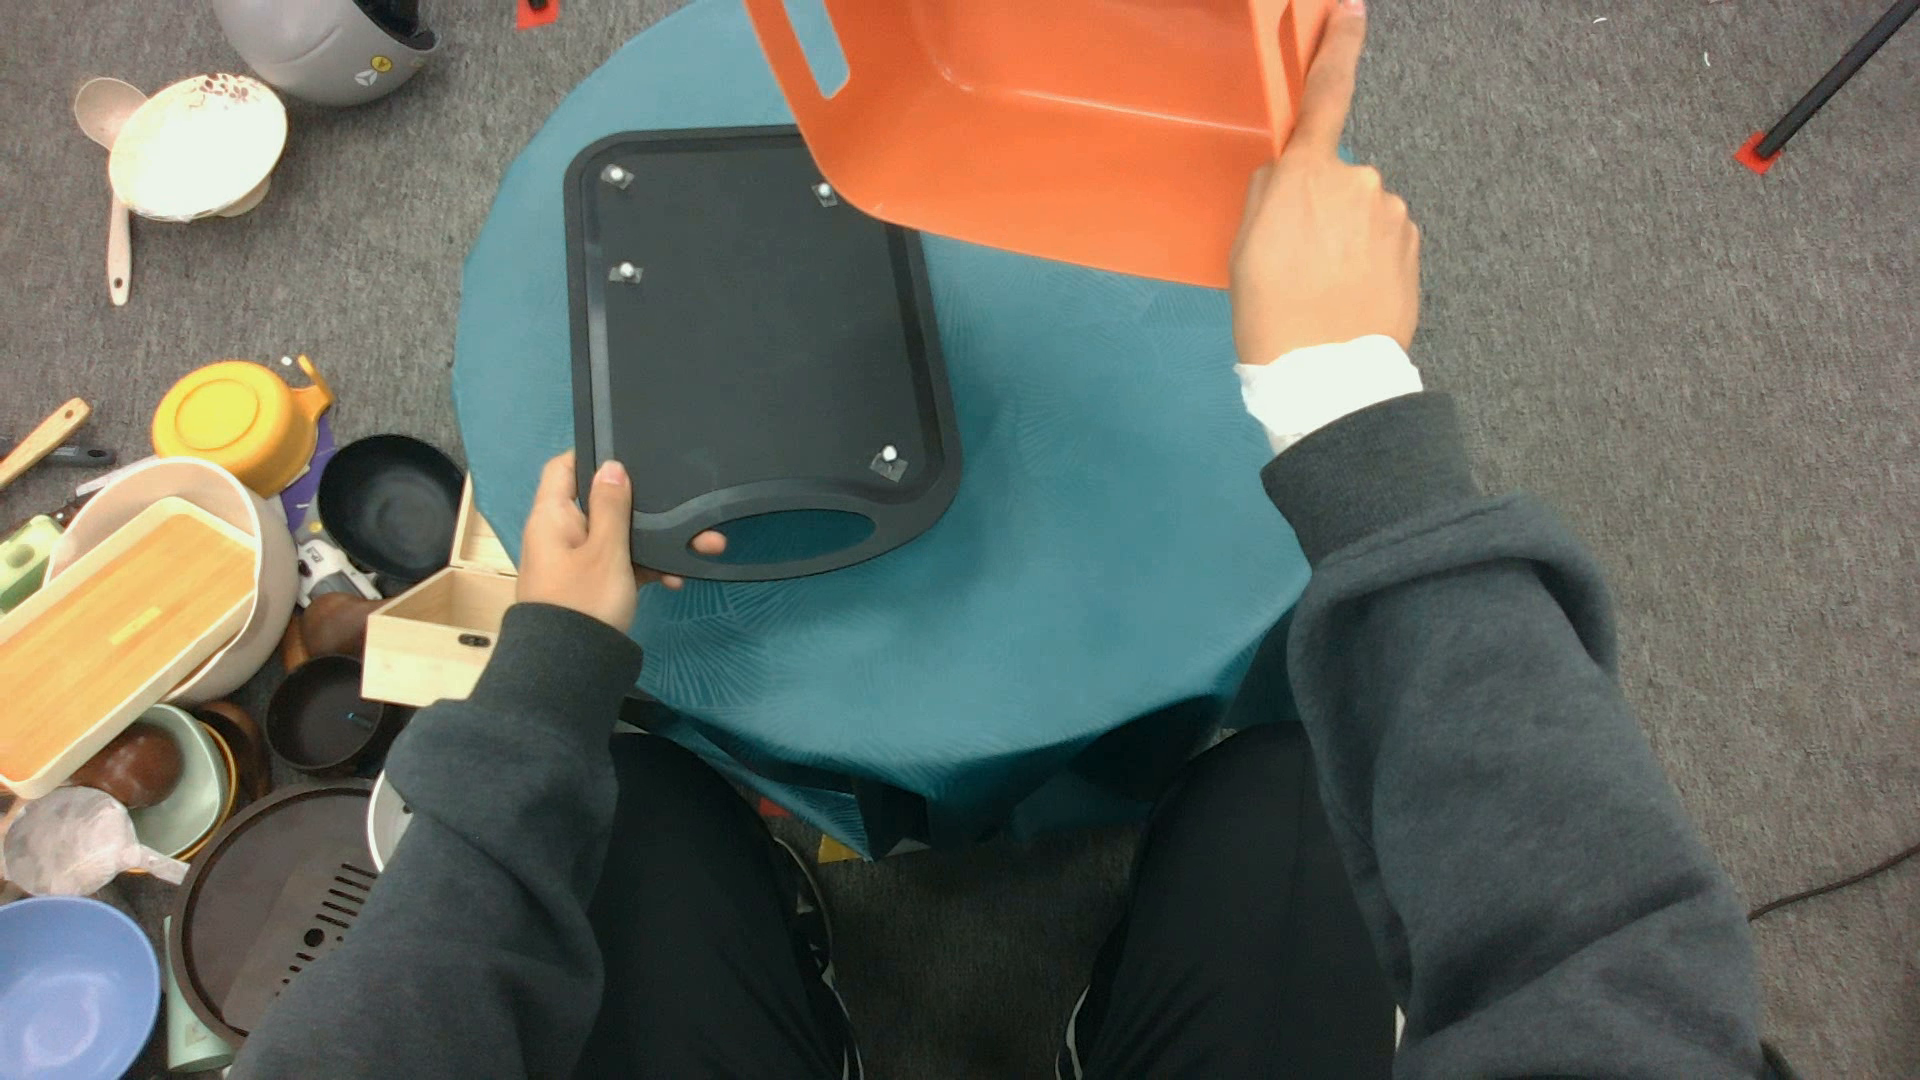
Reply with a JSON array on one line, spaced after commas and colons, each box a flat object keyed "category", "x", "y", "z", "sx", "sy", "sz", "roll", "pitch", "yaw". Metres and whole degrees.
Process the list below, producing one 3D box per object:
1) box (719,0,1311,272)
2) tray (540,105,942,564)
[{"category": "box", "x": 0.027, "y": -0.244, "z": 0.644, "sx": 0.273, "sy": 0.199, "sz": 0.103, "roll": 18, "pitch": 63, "yaw": 29}, {"category": "tray", "x": -0.129, "y": -0.132, "z": 0.793, "sx": 0.211, "sy": 0.010, "sz": 0.326, "roll": -6, "pitch": 62, "yaw": -10}]
